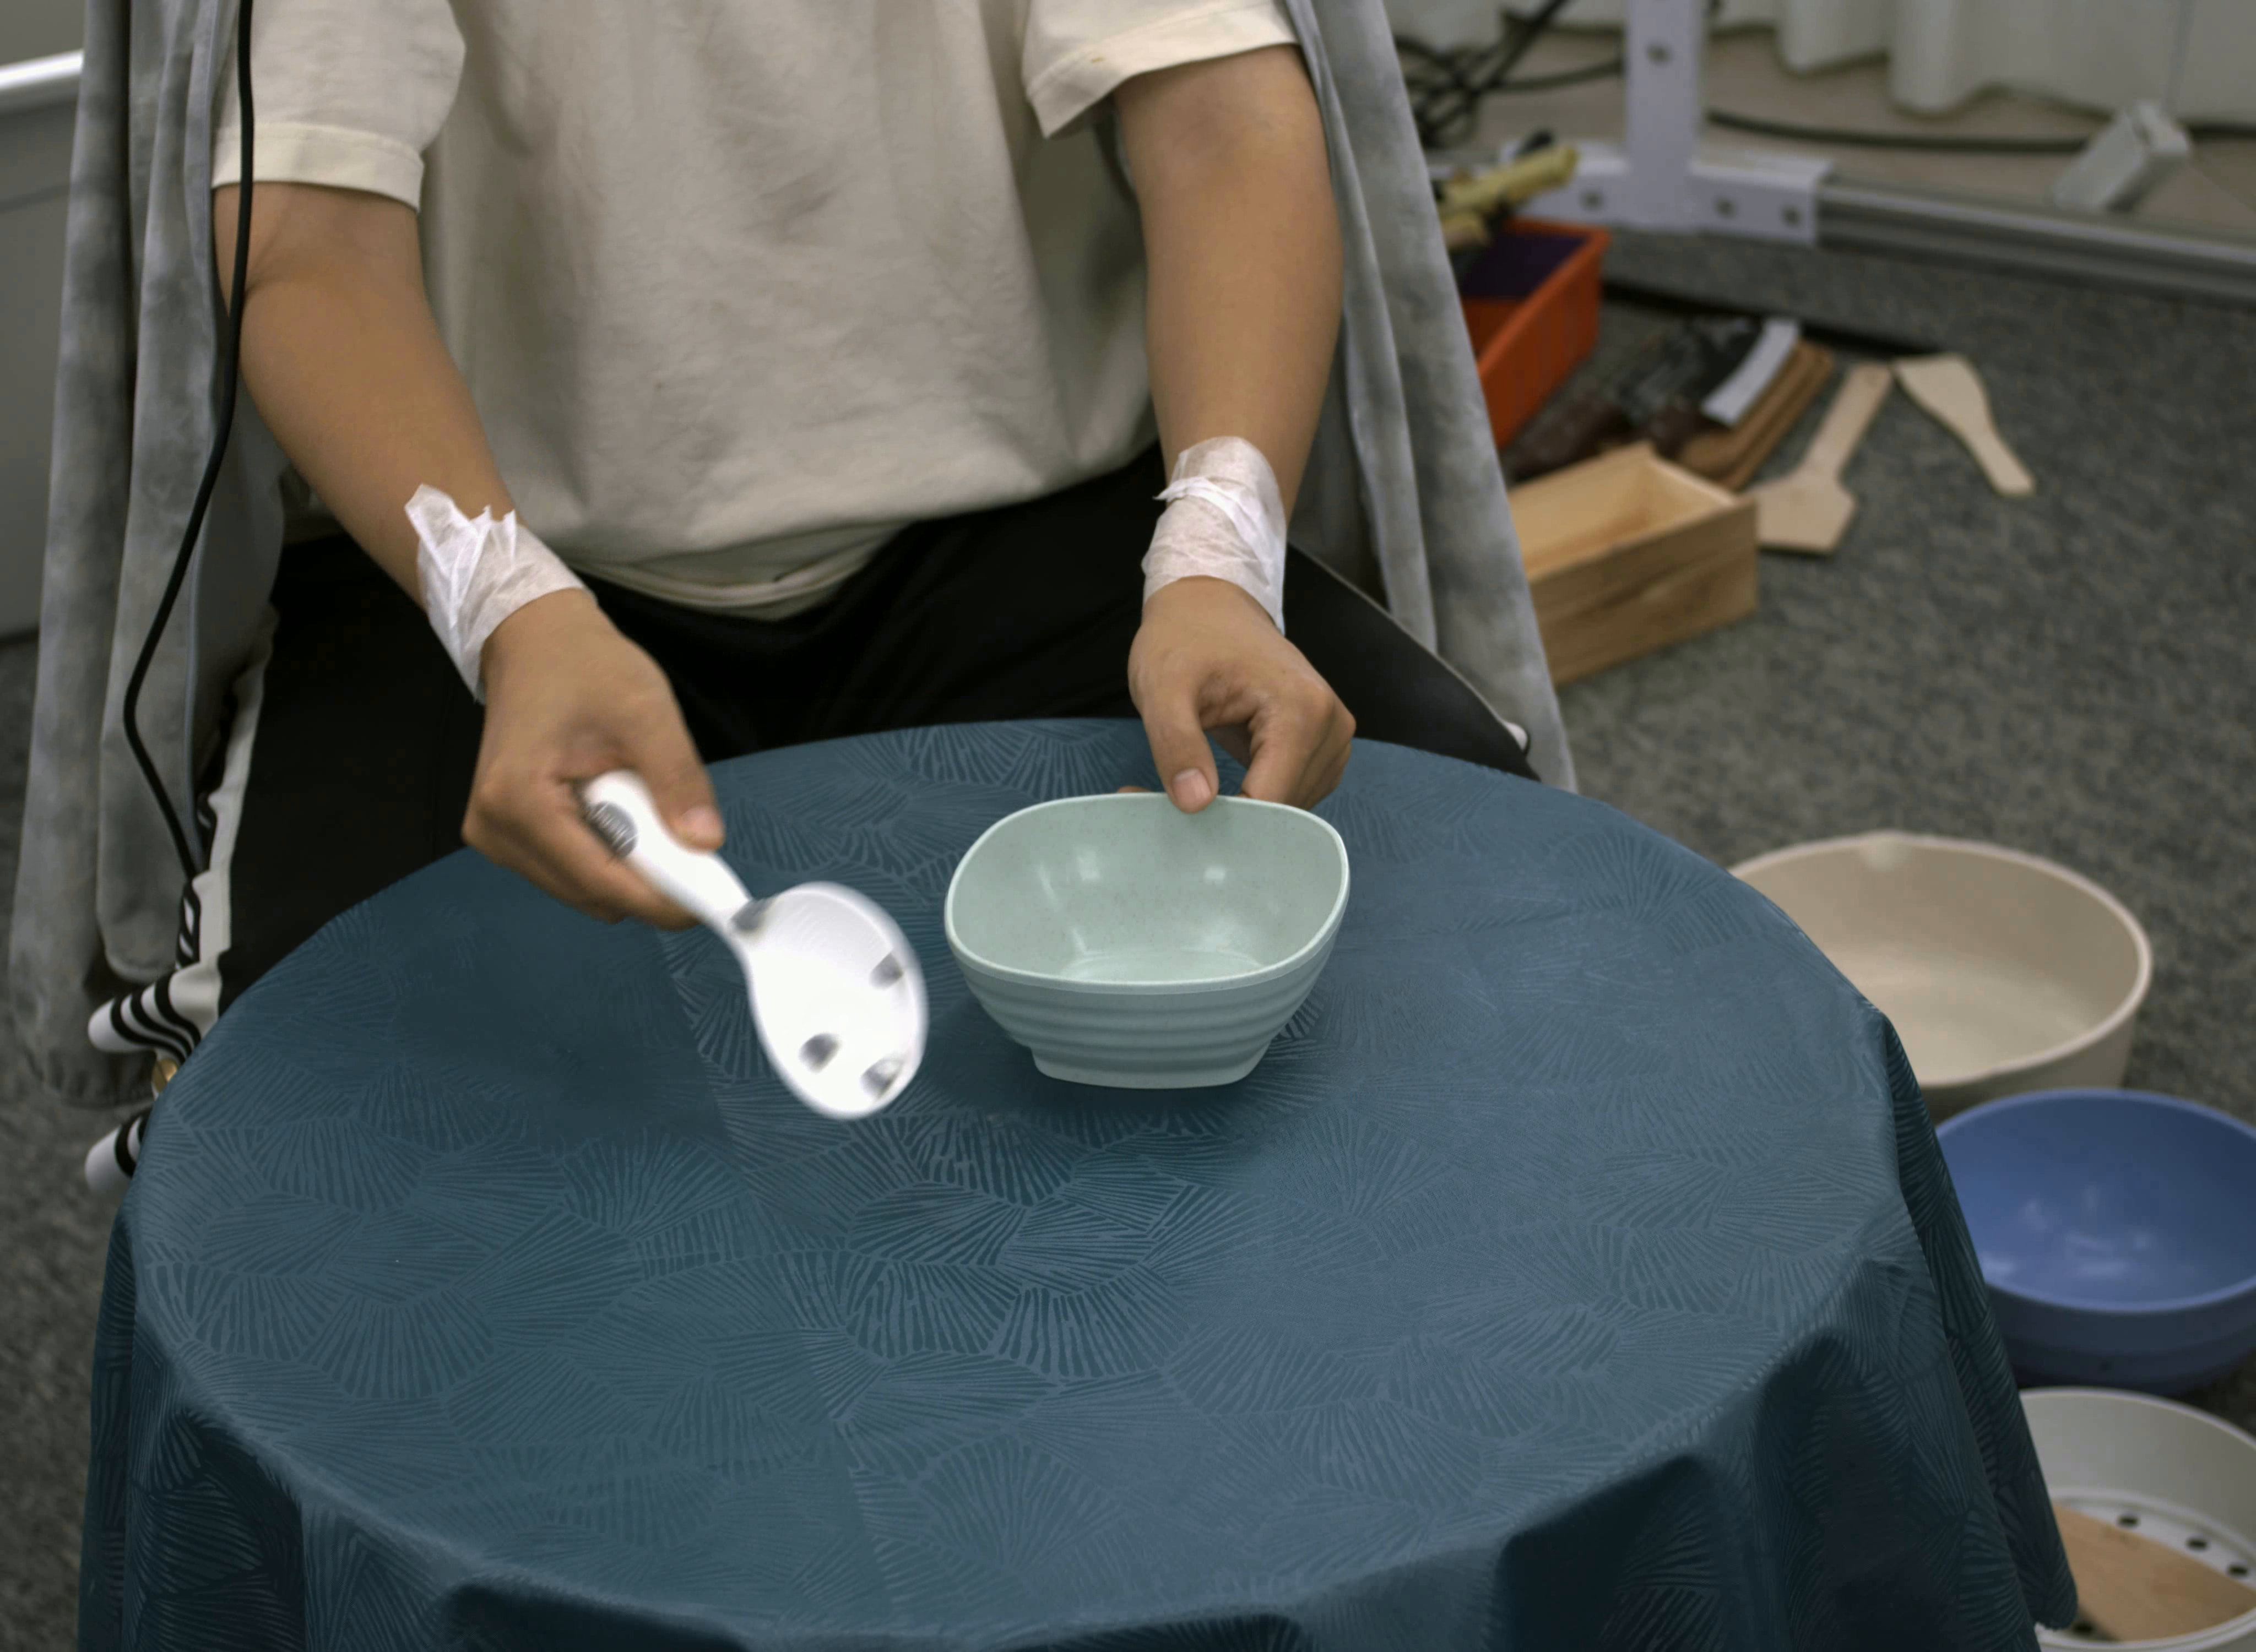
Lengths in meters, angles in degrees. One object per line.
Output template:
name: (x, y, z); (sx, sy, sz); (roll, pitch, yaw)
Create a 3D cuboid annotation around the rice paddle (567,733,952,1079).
rice paddle: (-0.121, 0.022, 1.869); (0.029, 0.068, 0.206); (6, 20, -42)

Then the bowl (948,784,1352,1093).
bowl: (0.009, 0.045, 1.945); (0.150, 0.058, 0.154); (-3, 30, 2)
